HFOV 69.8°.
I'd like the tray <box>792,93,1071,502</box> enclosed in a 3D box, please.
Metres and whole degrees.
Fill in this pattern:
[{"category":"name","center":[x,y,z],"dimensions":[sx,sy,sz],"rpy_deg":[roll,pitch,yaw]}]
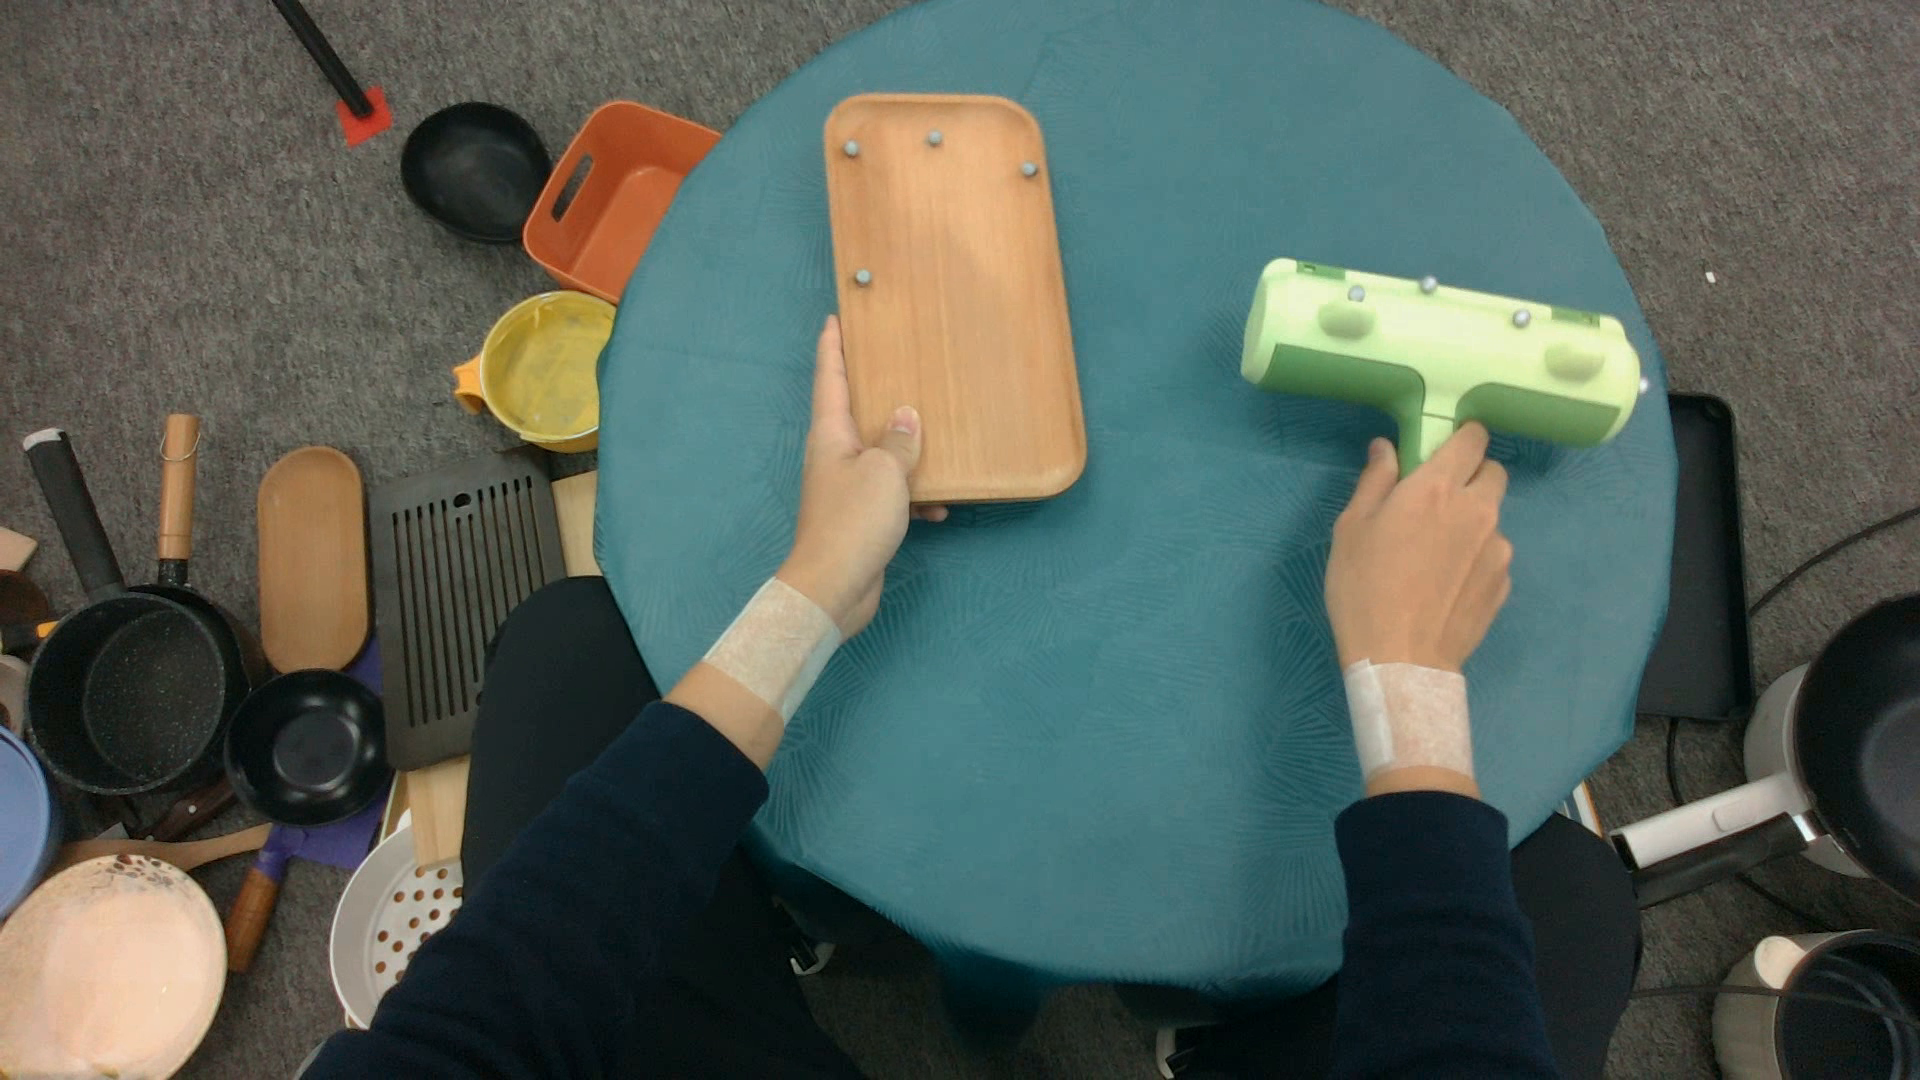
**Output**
[{"category":"tray","center":[-0.018,-0.138,0.757],"dimensions":[0.131,0.023,0.251],"rpy_deg":[-5,71,-11]}]

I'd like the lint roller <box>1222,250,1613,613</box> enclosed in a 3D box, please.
[{"category":"lint roller","center":[0.233,-0.059,0.693],"dimensions":[0.198,0.082,0.184],"rpy_deg":[8,62,-2]}]
